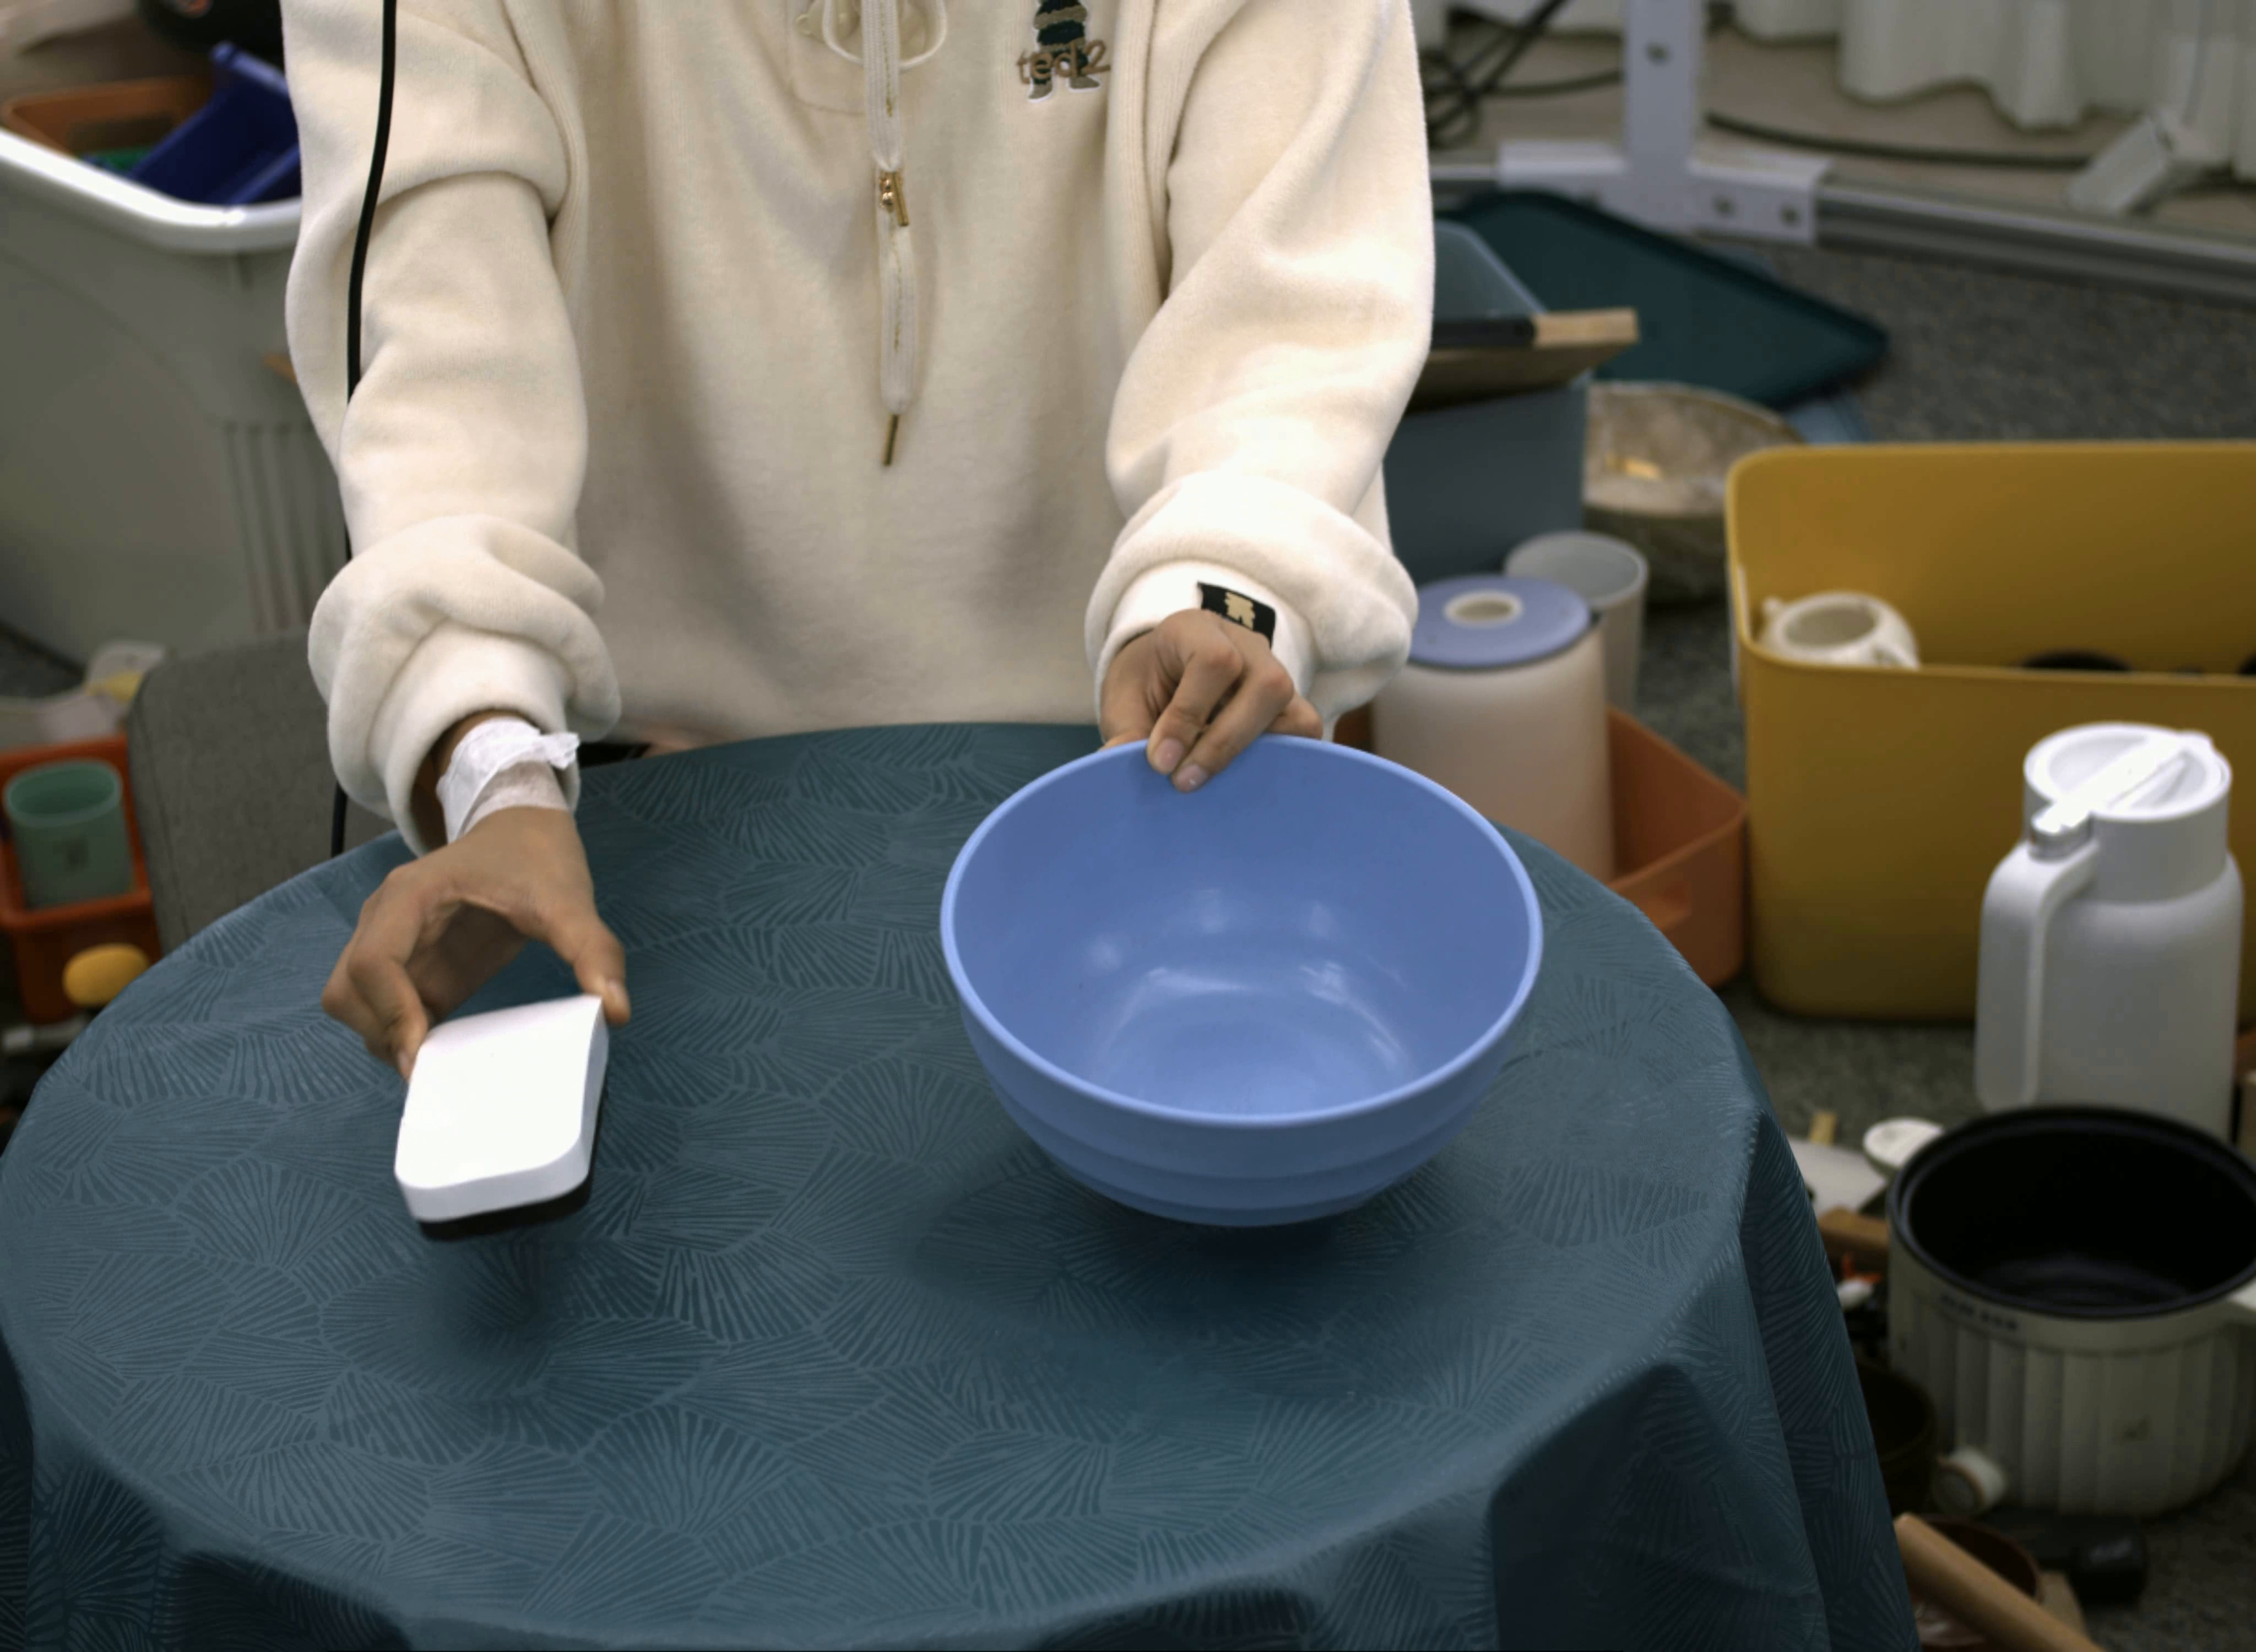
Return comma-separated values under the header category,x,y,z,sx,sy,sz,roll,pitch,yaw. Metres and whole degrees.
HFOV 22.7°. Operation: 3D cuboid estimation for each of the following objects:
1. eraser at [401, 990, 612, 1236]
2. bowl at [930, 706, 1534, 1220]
category,x,y,z,sx,sy,sz,roll,pitch,yaw
eraser,-0.198,0.089,1.814,0.063,0.034,0.133,-11,22,3
bowl,0.034,0.060,1.852,0.195,0.094,0.200,0,43,0
